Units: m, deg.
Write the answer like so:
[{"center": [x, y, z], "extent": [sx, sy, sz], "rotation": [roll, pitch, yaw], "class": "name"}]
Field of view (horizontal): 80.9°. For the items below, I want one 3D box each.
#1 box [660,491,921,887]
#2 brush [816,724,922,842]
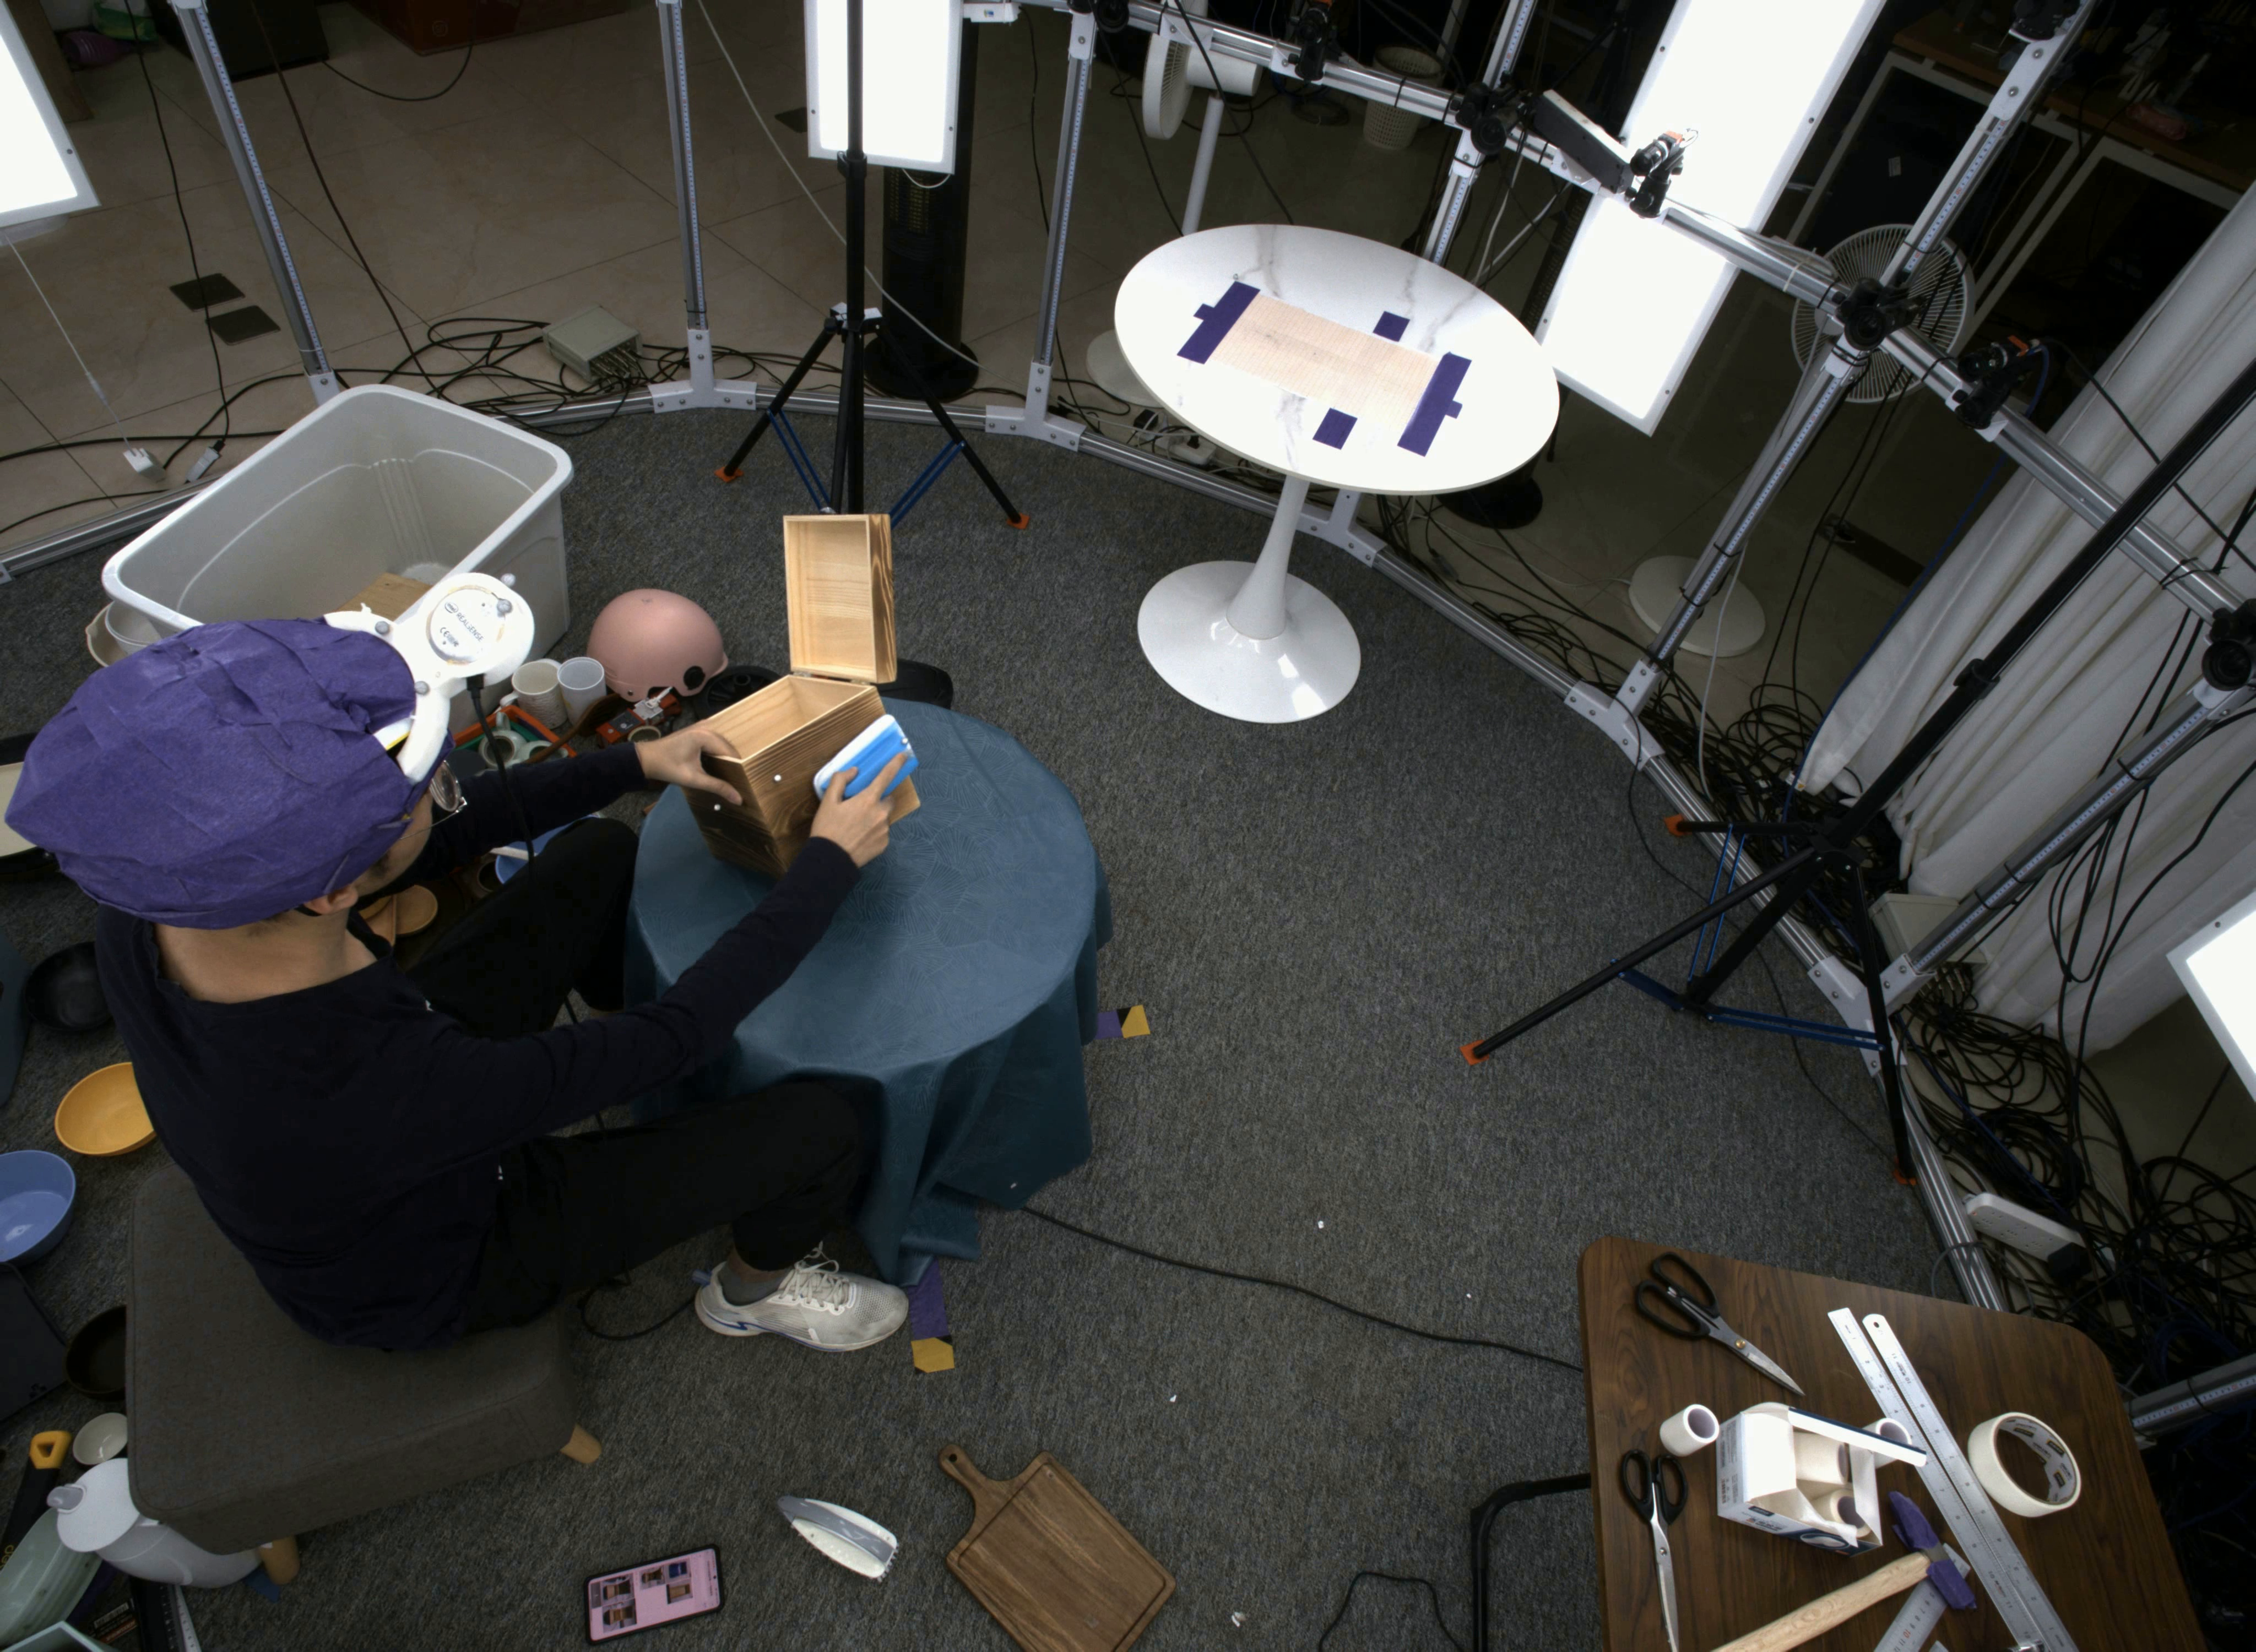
[{"center": [-0.414, -0.174, 1.593], "extent": [0.201, 0.389, 0.323], "rotation": [12, 39, 43], "class": "box"}, {"center": [-0.300, -0.053, 1.545], "extent": [0.054, 0.087, 0.143], "rotation": [5, 46, 43], "class": "brush"}]
